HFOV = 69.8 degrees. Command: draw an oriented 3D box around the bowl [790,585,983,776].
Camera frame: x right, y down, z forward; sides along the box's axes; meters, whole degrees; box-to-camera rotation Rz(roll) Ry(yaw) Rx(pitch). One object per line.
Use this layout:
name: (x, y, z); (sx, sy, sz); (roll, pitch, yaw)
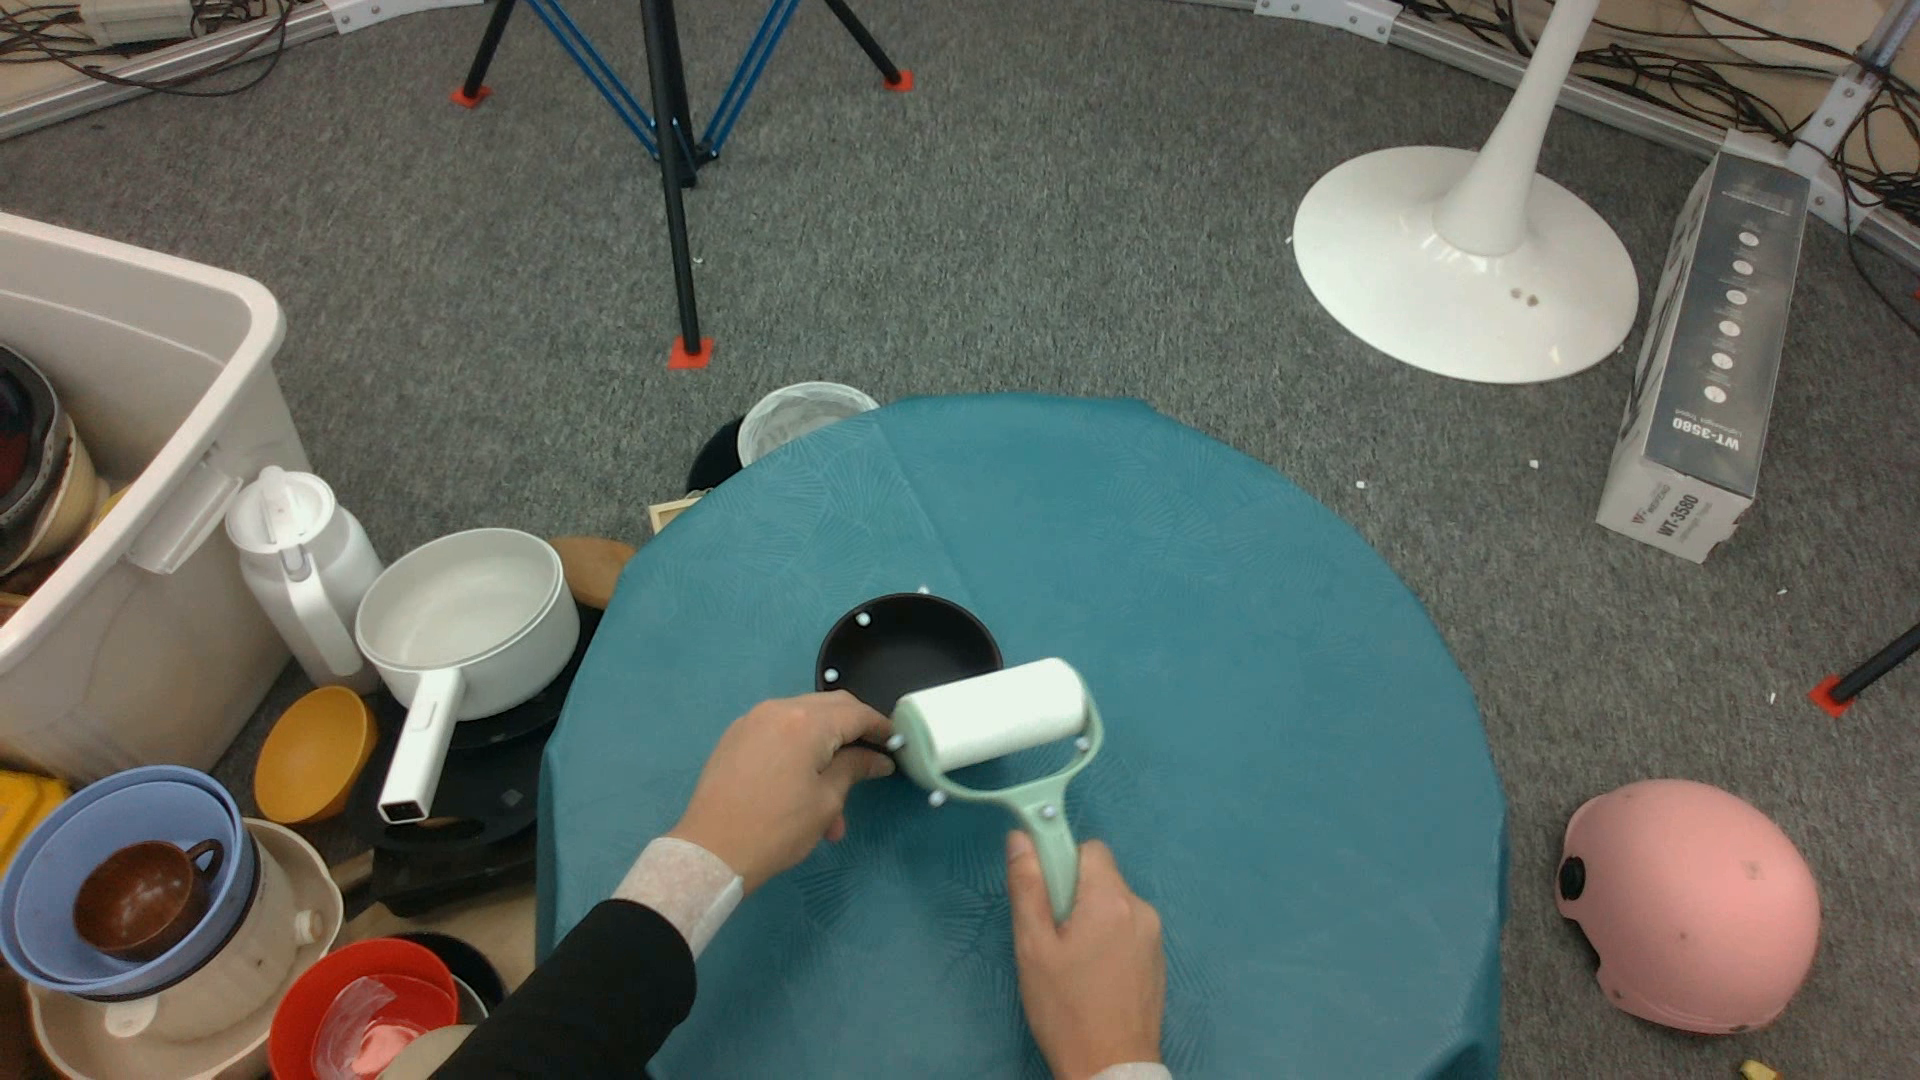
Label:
bowl: (-0.046, 0.094, 0.857); (0.118, 0.069, 0.118); (3, 55, -4)

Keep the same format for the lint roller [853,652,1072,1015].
lint roller: (0.022, 0.166, 0.767); (0.117, 0.048, 0.198); (-12, 72, -29)
